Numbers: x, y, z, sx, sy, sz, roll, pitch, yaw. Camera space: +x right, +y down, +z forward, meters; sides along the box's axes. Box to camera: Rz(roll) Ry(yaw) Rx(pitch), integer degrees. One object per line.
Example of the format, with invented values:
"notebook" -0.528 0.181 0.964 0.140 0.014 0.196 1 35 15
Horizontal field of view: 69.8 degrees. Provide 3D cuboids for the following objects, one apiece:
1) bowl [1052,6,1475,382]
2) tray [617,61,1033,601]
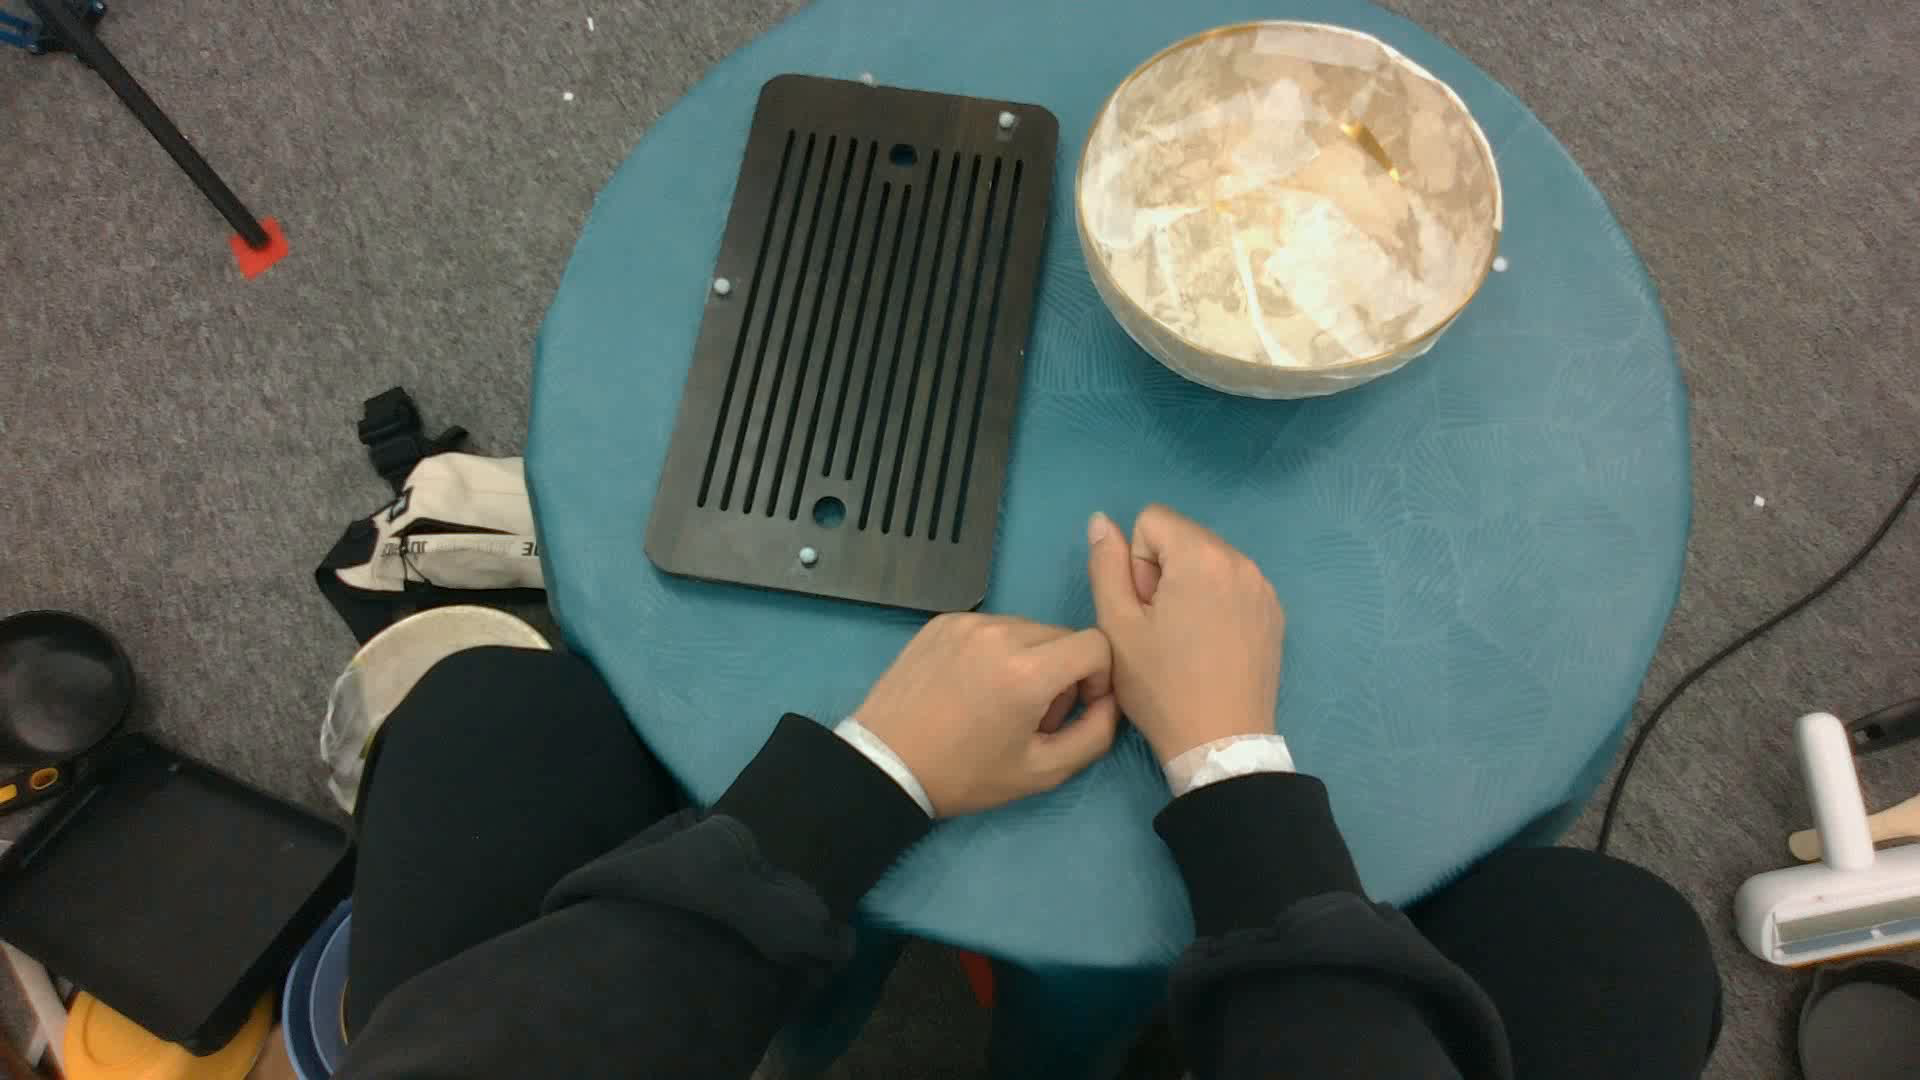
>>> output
"bowl" 0.142 -0.160 0.700 0.215 0.094 0.215 1 68 -1
"tray" -0.063 -0.119 0.722 0.170 0.018 0.307 8 68 3
